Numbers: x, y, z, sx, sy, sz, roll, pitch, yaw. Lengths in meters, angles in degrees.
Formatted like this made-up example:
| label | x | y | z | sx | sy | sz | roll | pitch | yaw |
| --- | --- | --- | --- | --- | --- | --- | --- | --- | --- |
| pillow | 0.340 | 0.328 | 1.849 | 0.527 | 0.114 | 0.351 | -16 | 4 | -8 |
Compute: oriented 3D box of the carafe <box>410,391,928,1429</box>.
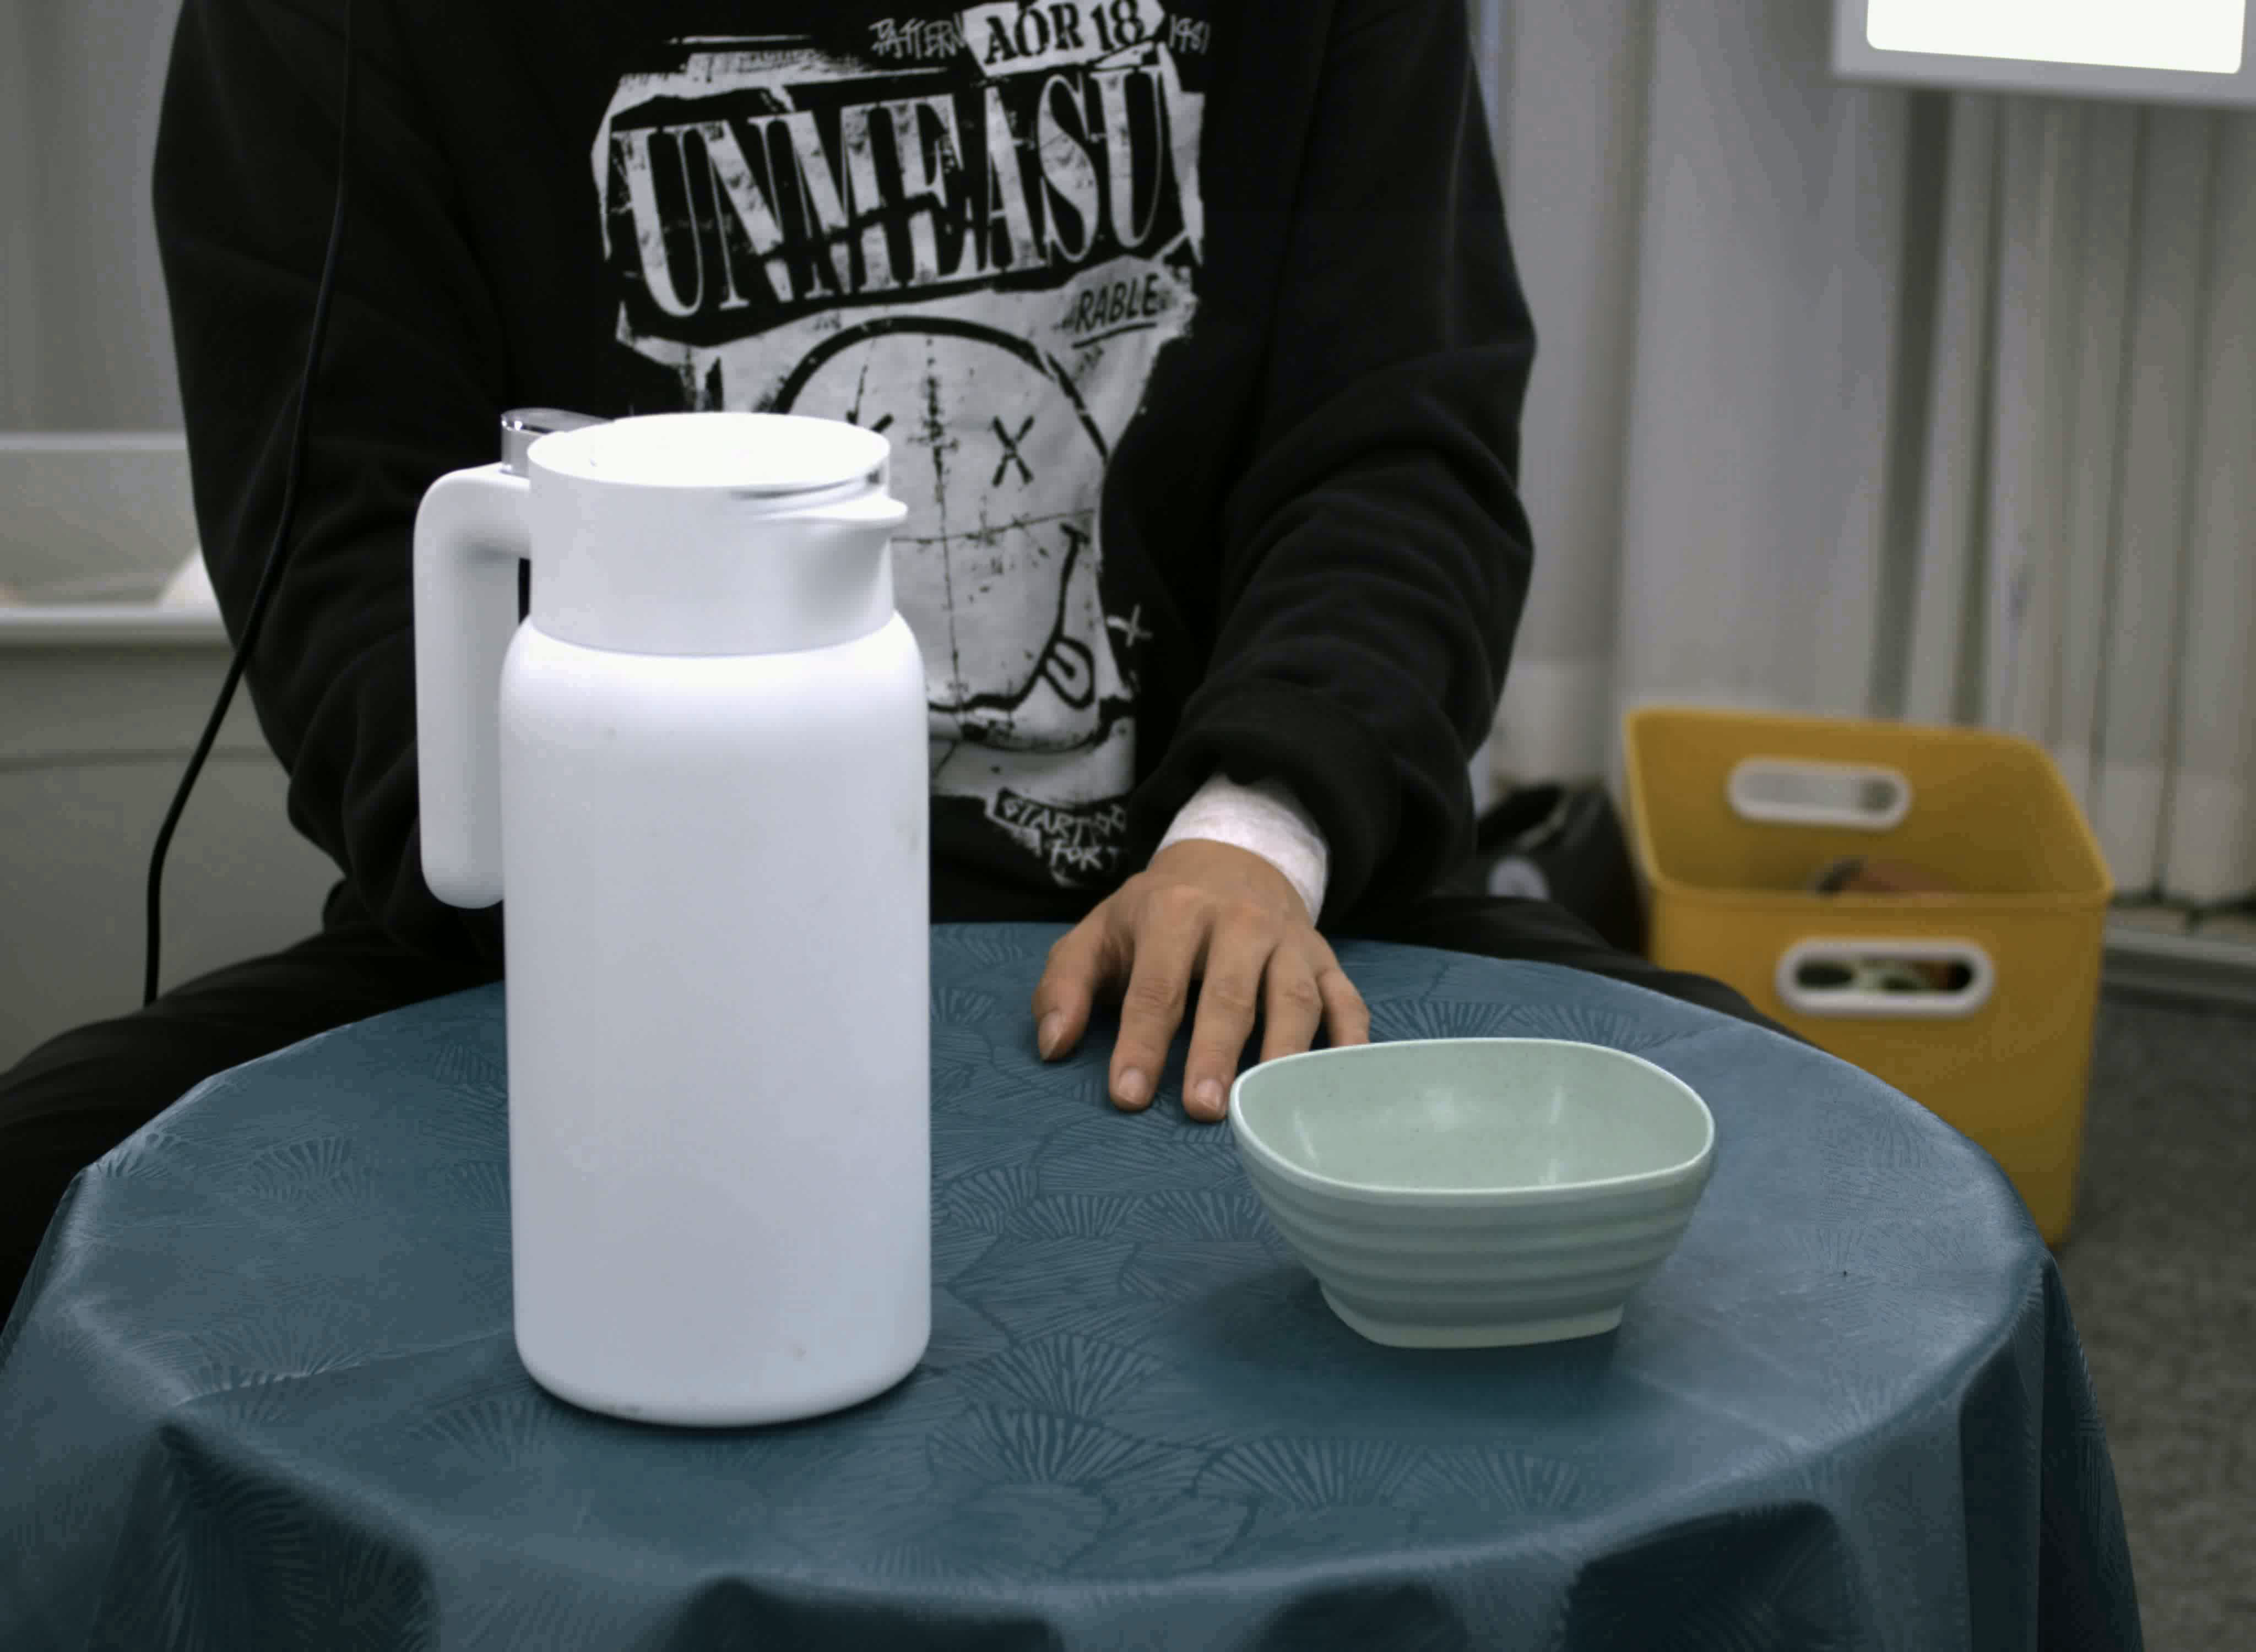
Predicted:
| label | x | y | z | sx | sy | sz | roll | pitch | yaw |
| --- | --- | --- | --- | --- | --- | --- | --- | --- | --- |
| carafe | -0.128 | 0.020 | 1.450 | 0.170 | 0.271 | 0.124 | 12 | 22 | 36 |

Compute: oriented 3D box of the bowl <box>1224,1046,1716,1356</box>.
| label | x | y | z | sx | sy | sz | roll | pitch | yaw |
| --- | --- | --- | --- | --- | --- | --- | --- | --- | --- |
| bowl | 0.098 | 0.112 | 1.528 | 0.151 | 0.059 | 0.150 | 1 | 15 | 0 |
